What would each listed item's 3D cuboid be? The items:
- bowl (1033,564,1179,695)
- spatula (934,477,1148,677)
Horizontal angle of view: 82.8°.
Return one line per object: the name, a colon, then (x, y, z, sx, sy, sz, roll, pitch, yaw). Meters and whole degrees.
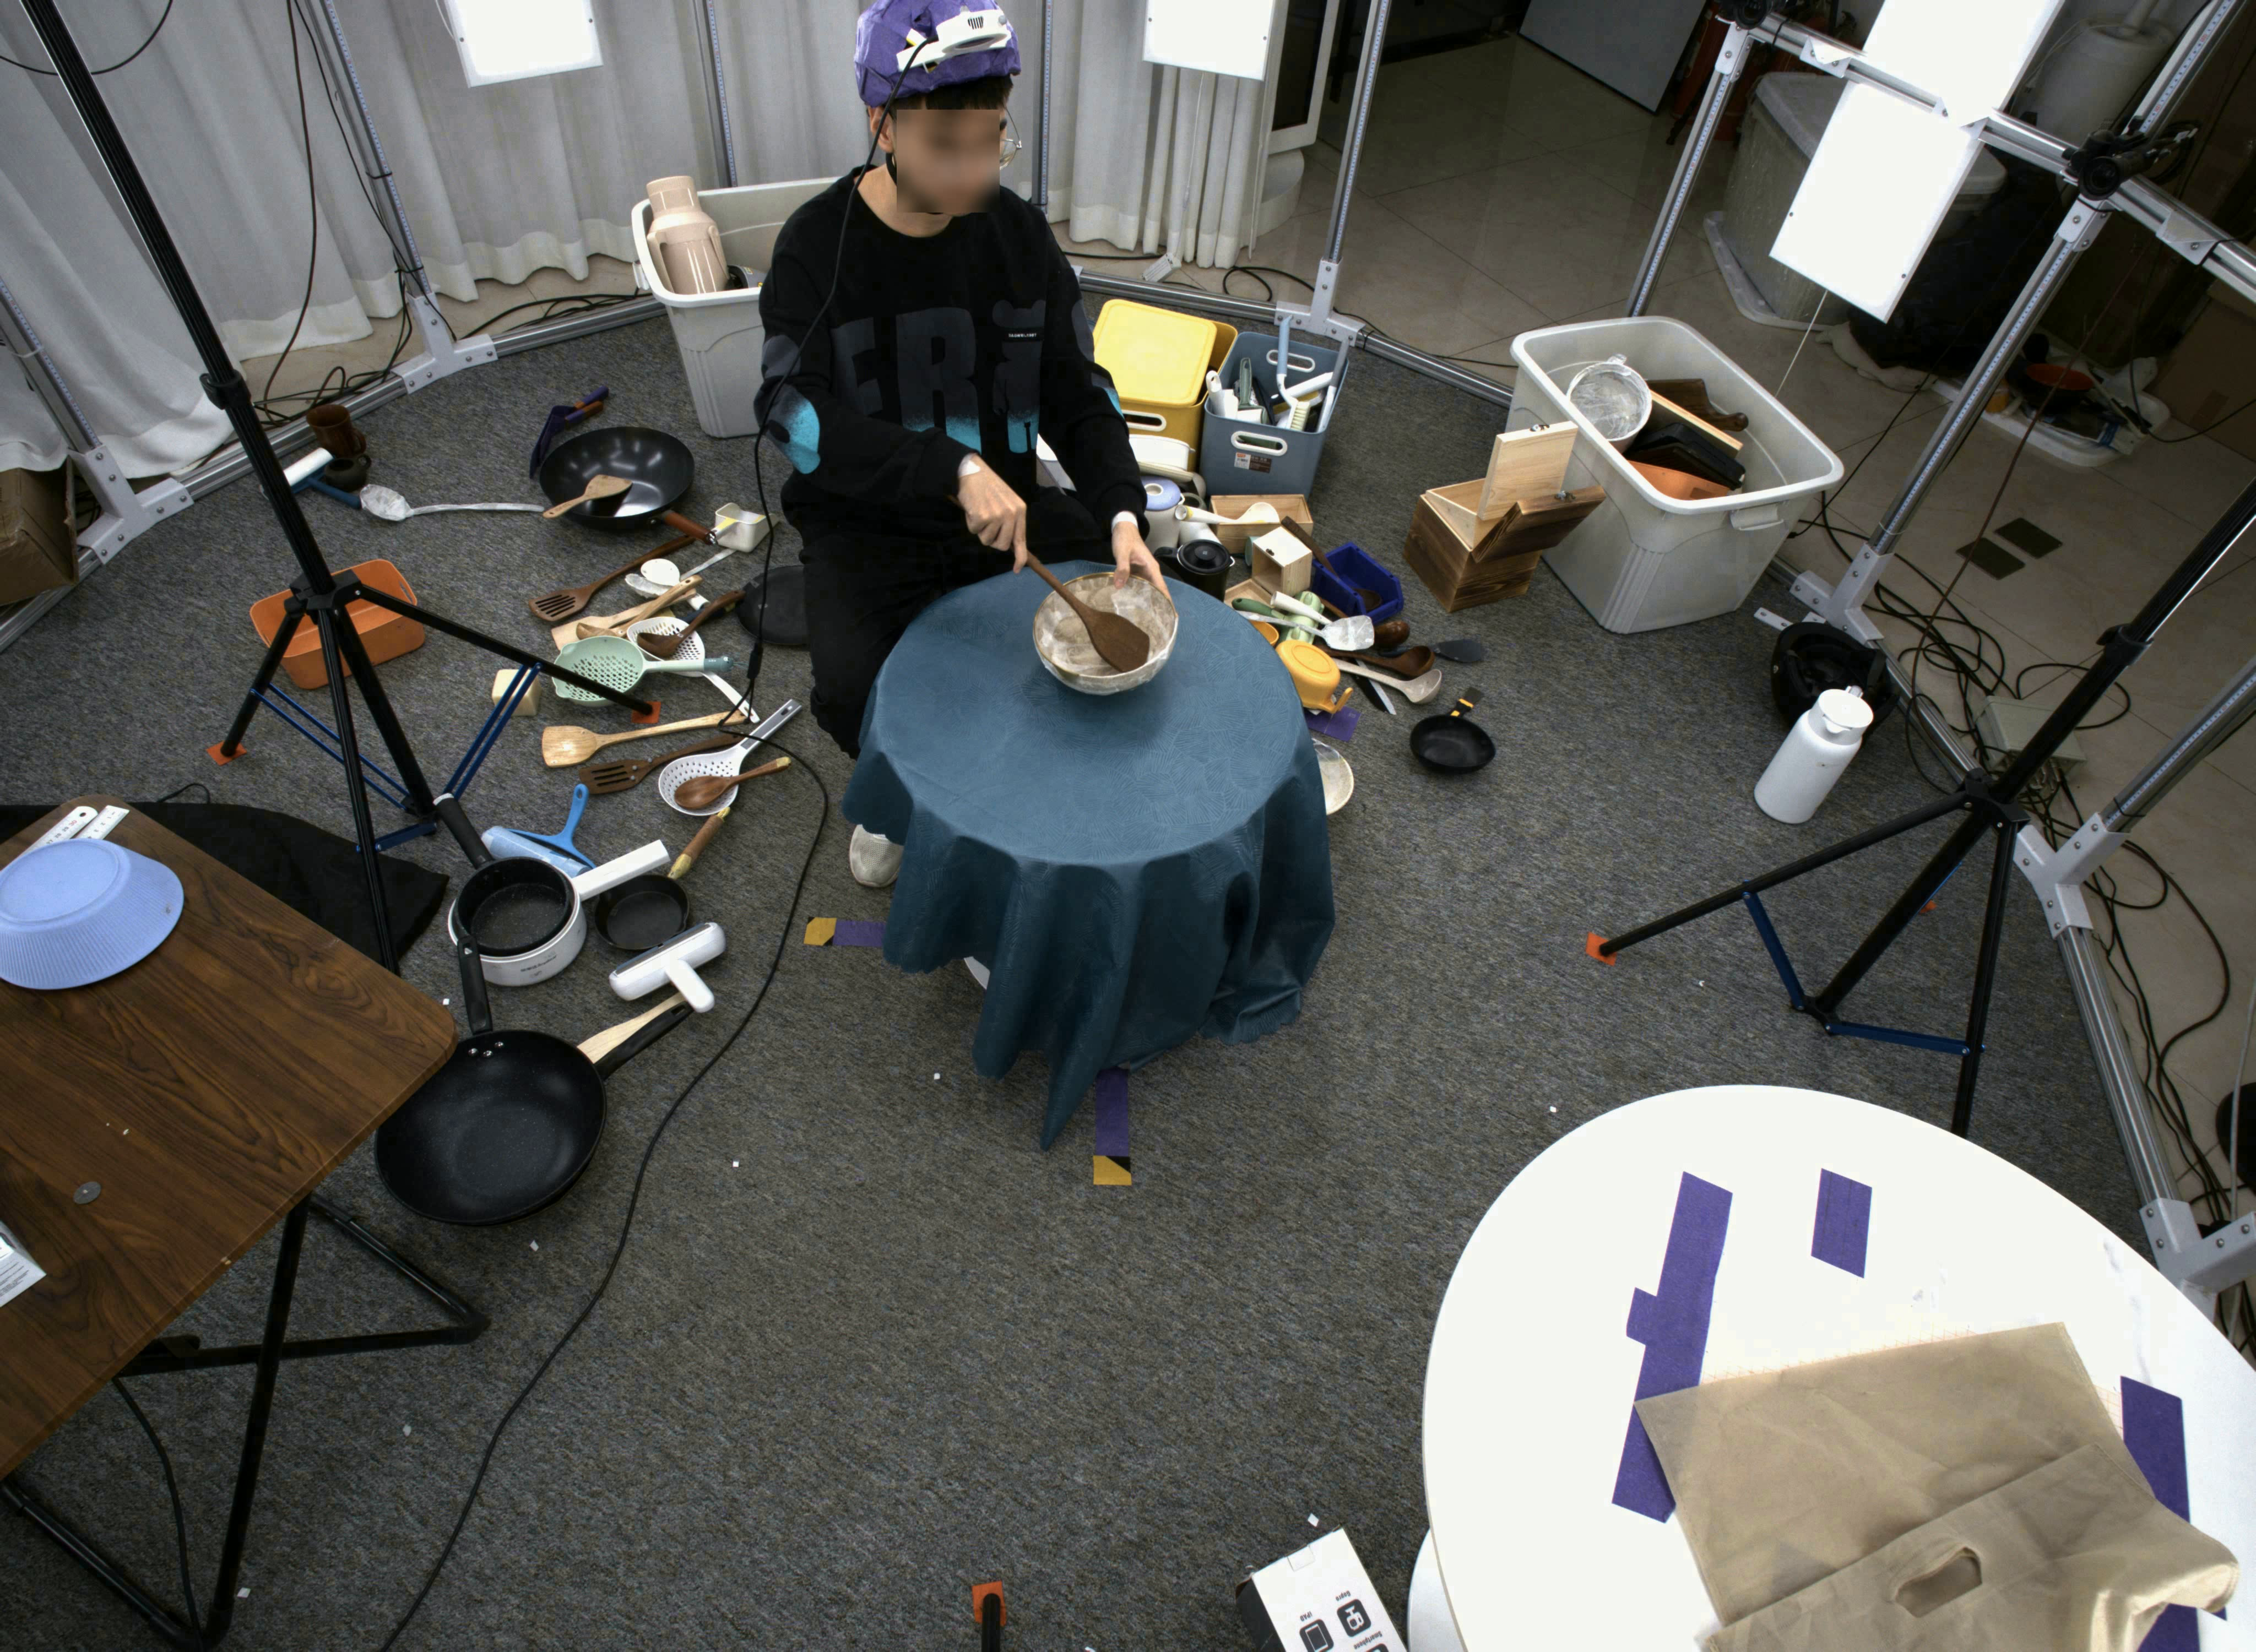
bowl: (-0.029, -0.267, 1.830, 0.214, 0.092, 0.219, -1, 61, 1)
spatula: (-0.117, -0.350, 1.794, 0.381, 0.015, 0.098, 40, 47, -17)
